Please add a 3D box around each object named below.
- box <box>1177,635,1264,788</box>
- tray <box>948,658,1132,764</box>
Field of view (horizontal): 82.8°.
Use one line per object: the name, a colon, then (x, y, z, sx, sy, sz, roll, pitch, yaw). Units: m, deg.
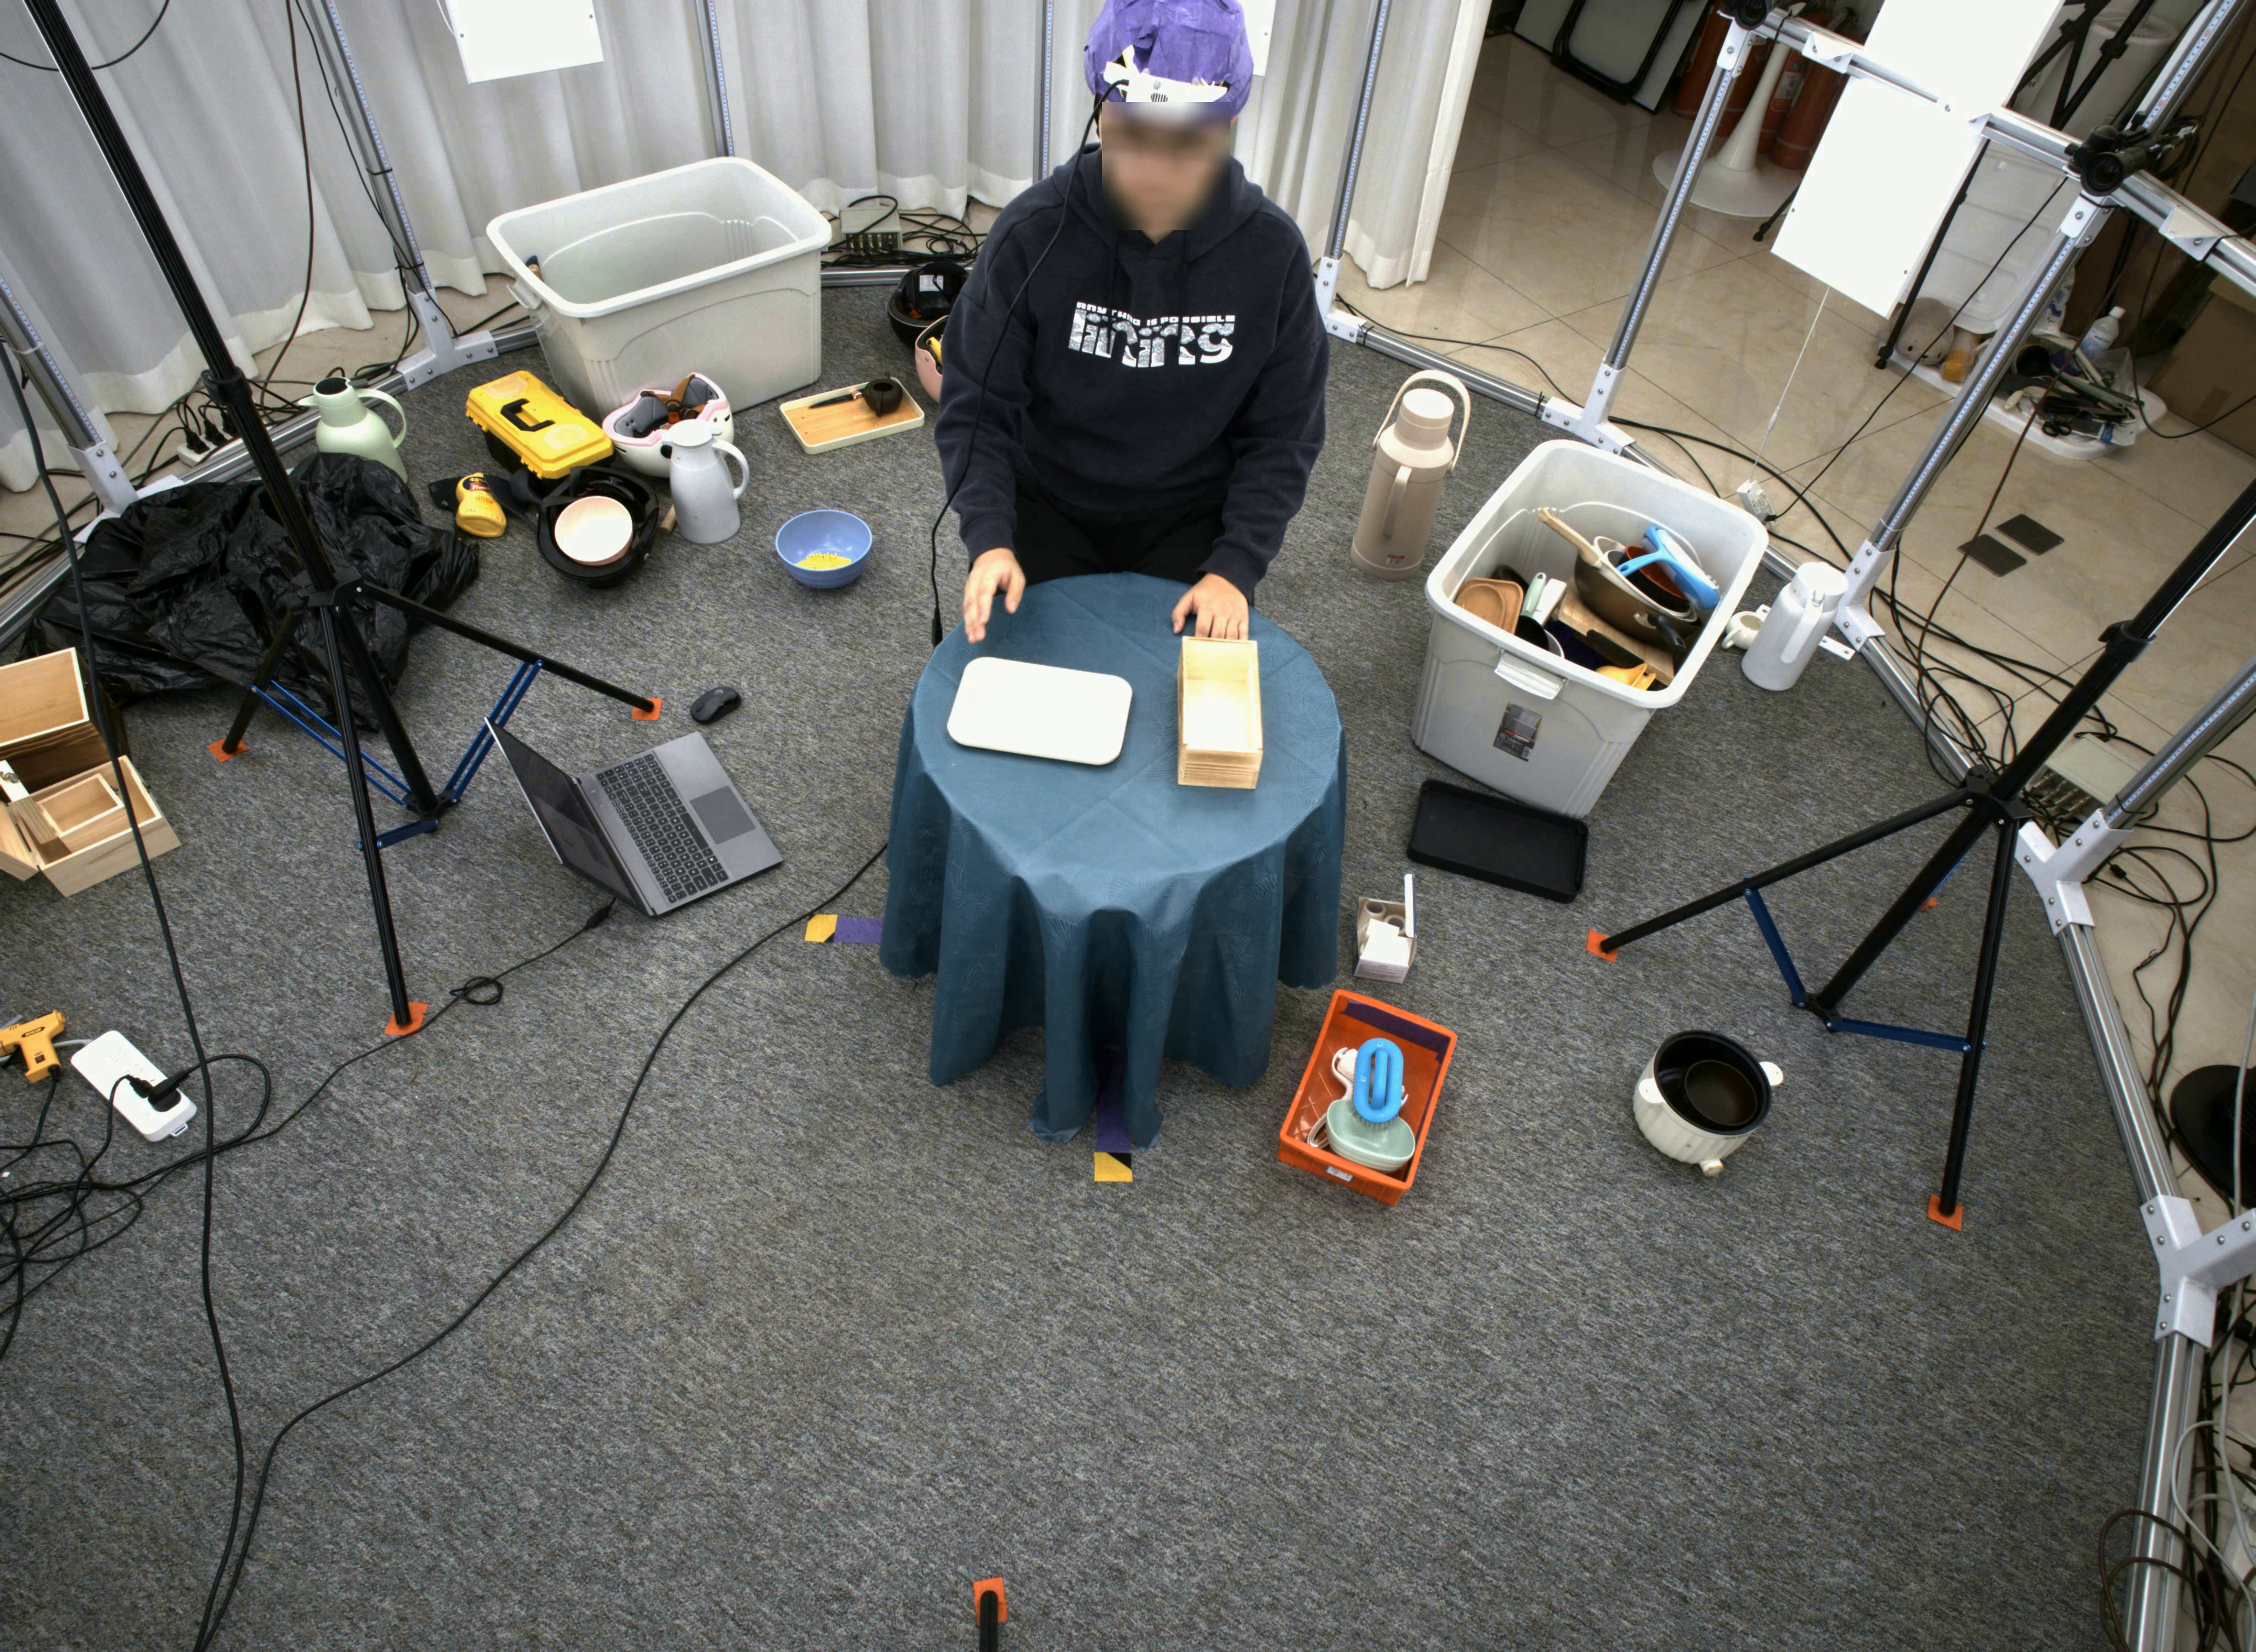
box: (0.125, -0.159, 1.762, 0.107, 0.078, 0.217, 3, 49, -2)
tray: (-0.120, -0.160, 1.783, 0.240, 0.017, 0.175, 8, 48, 3)
